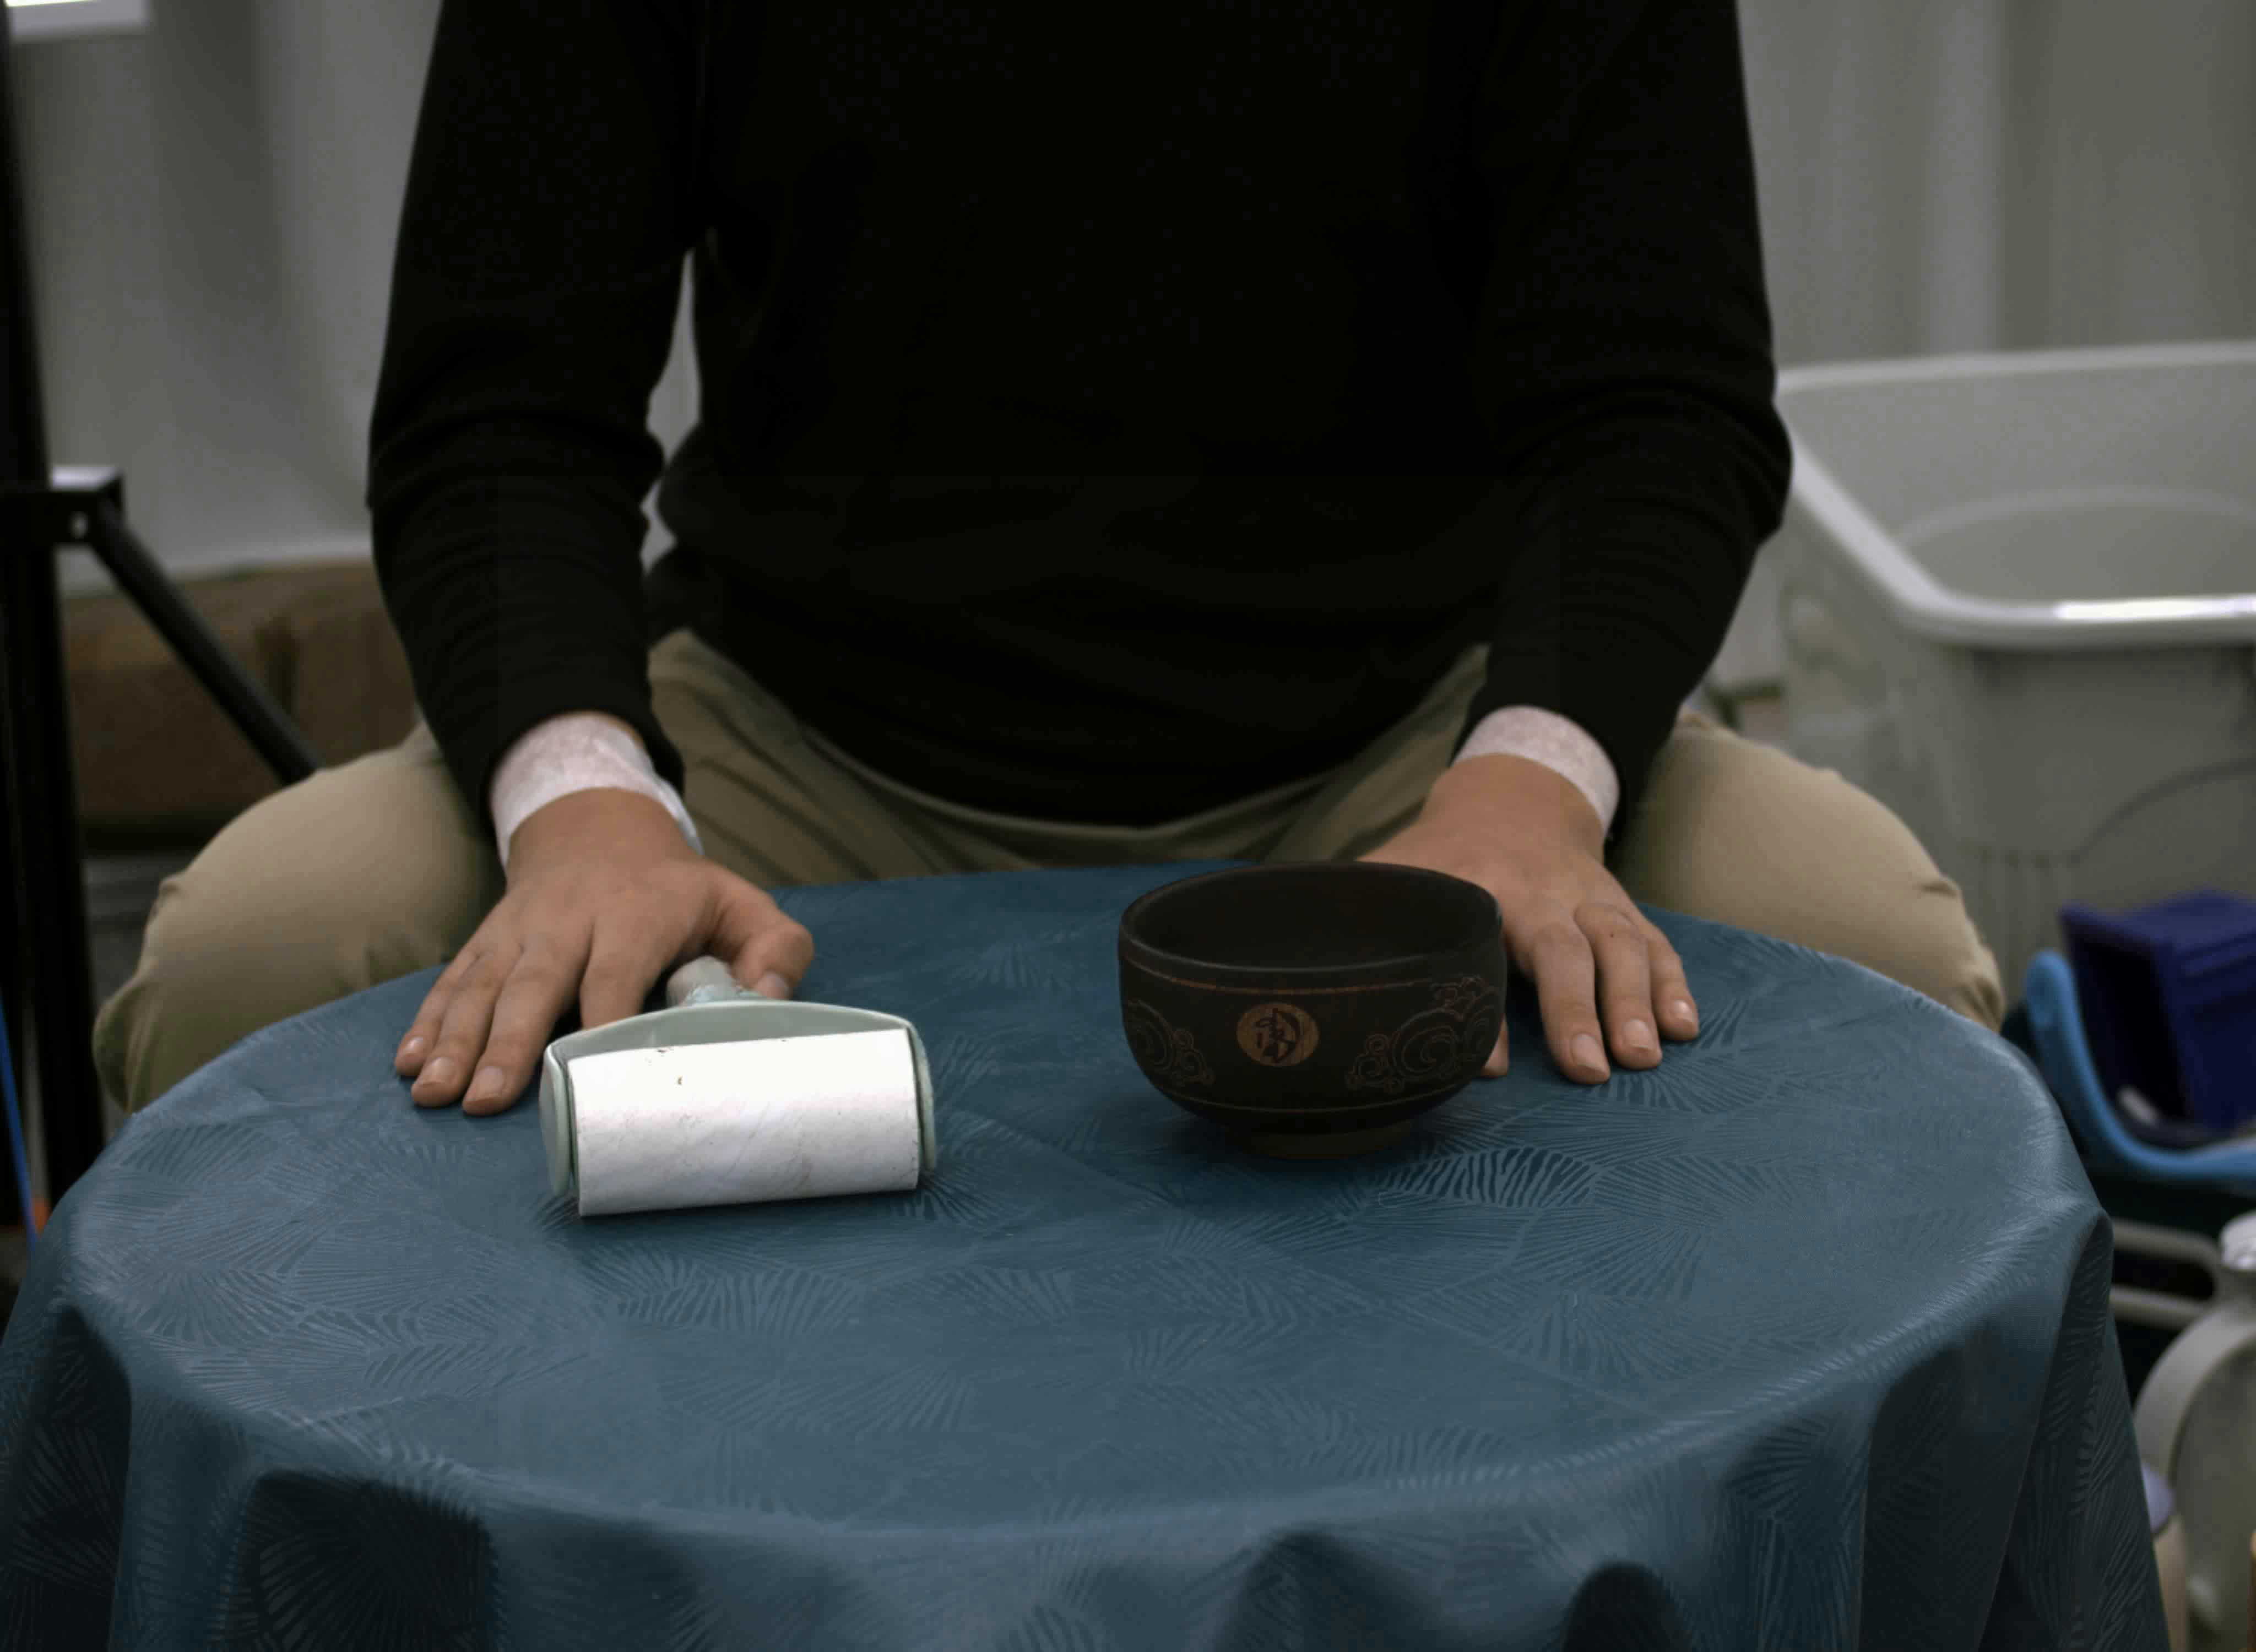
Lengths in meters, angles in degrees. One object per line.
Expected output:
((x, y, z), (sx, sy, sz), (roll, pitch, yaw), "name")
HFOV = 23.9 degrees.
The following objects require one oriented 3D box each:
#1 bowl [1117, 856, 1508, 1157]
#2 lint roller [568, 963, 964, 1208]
((0.056, 0.058, 1.594), (0.117, 0.070, 0.118), (-4, 15, 0), "bowl")
((-0.116, 0.068, 1.635), (0.115, 0.048, 0.199), (-5, 14, -7), "lint roller")
